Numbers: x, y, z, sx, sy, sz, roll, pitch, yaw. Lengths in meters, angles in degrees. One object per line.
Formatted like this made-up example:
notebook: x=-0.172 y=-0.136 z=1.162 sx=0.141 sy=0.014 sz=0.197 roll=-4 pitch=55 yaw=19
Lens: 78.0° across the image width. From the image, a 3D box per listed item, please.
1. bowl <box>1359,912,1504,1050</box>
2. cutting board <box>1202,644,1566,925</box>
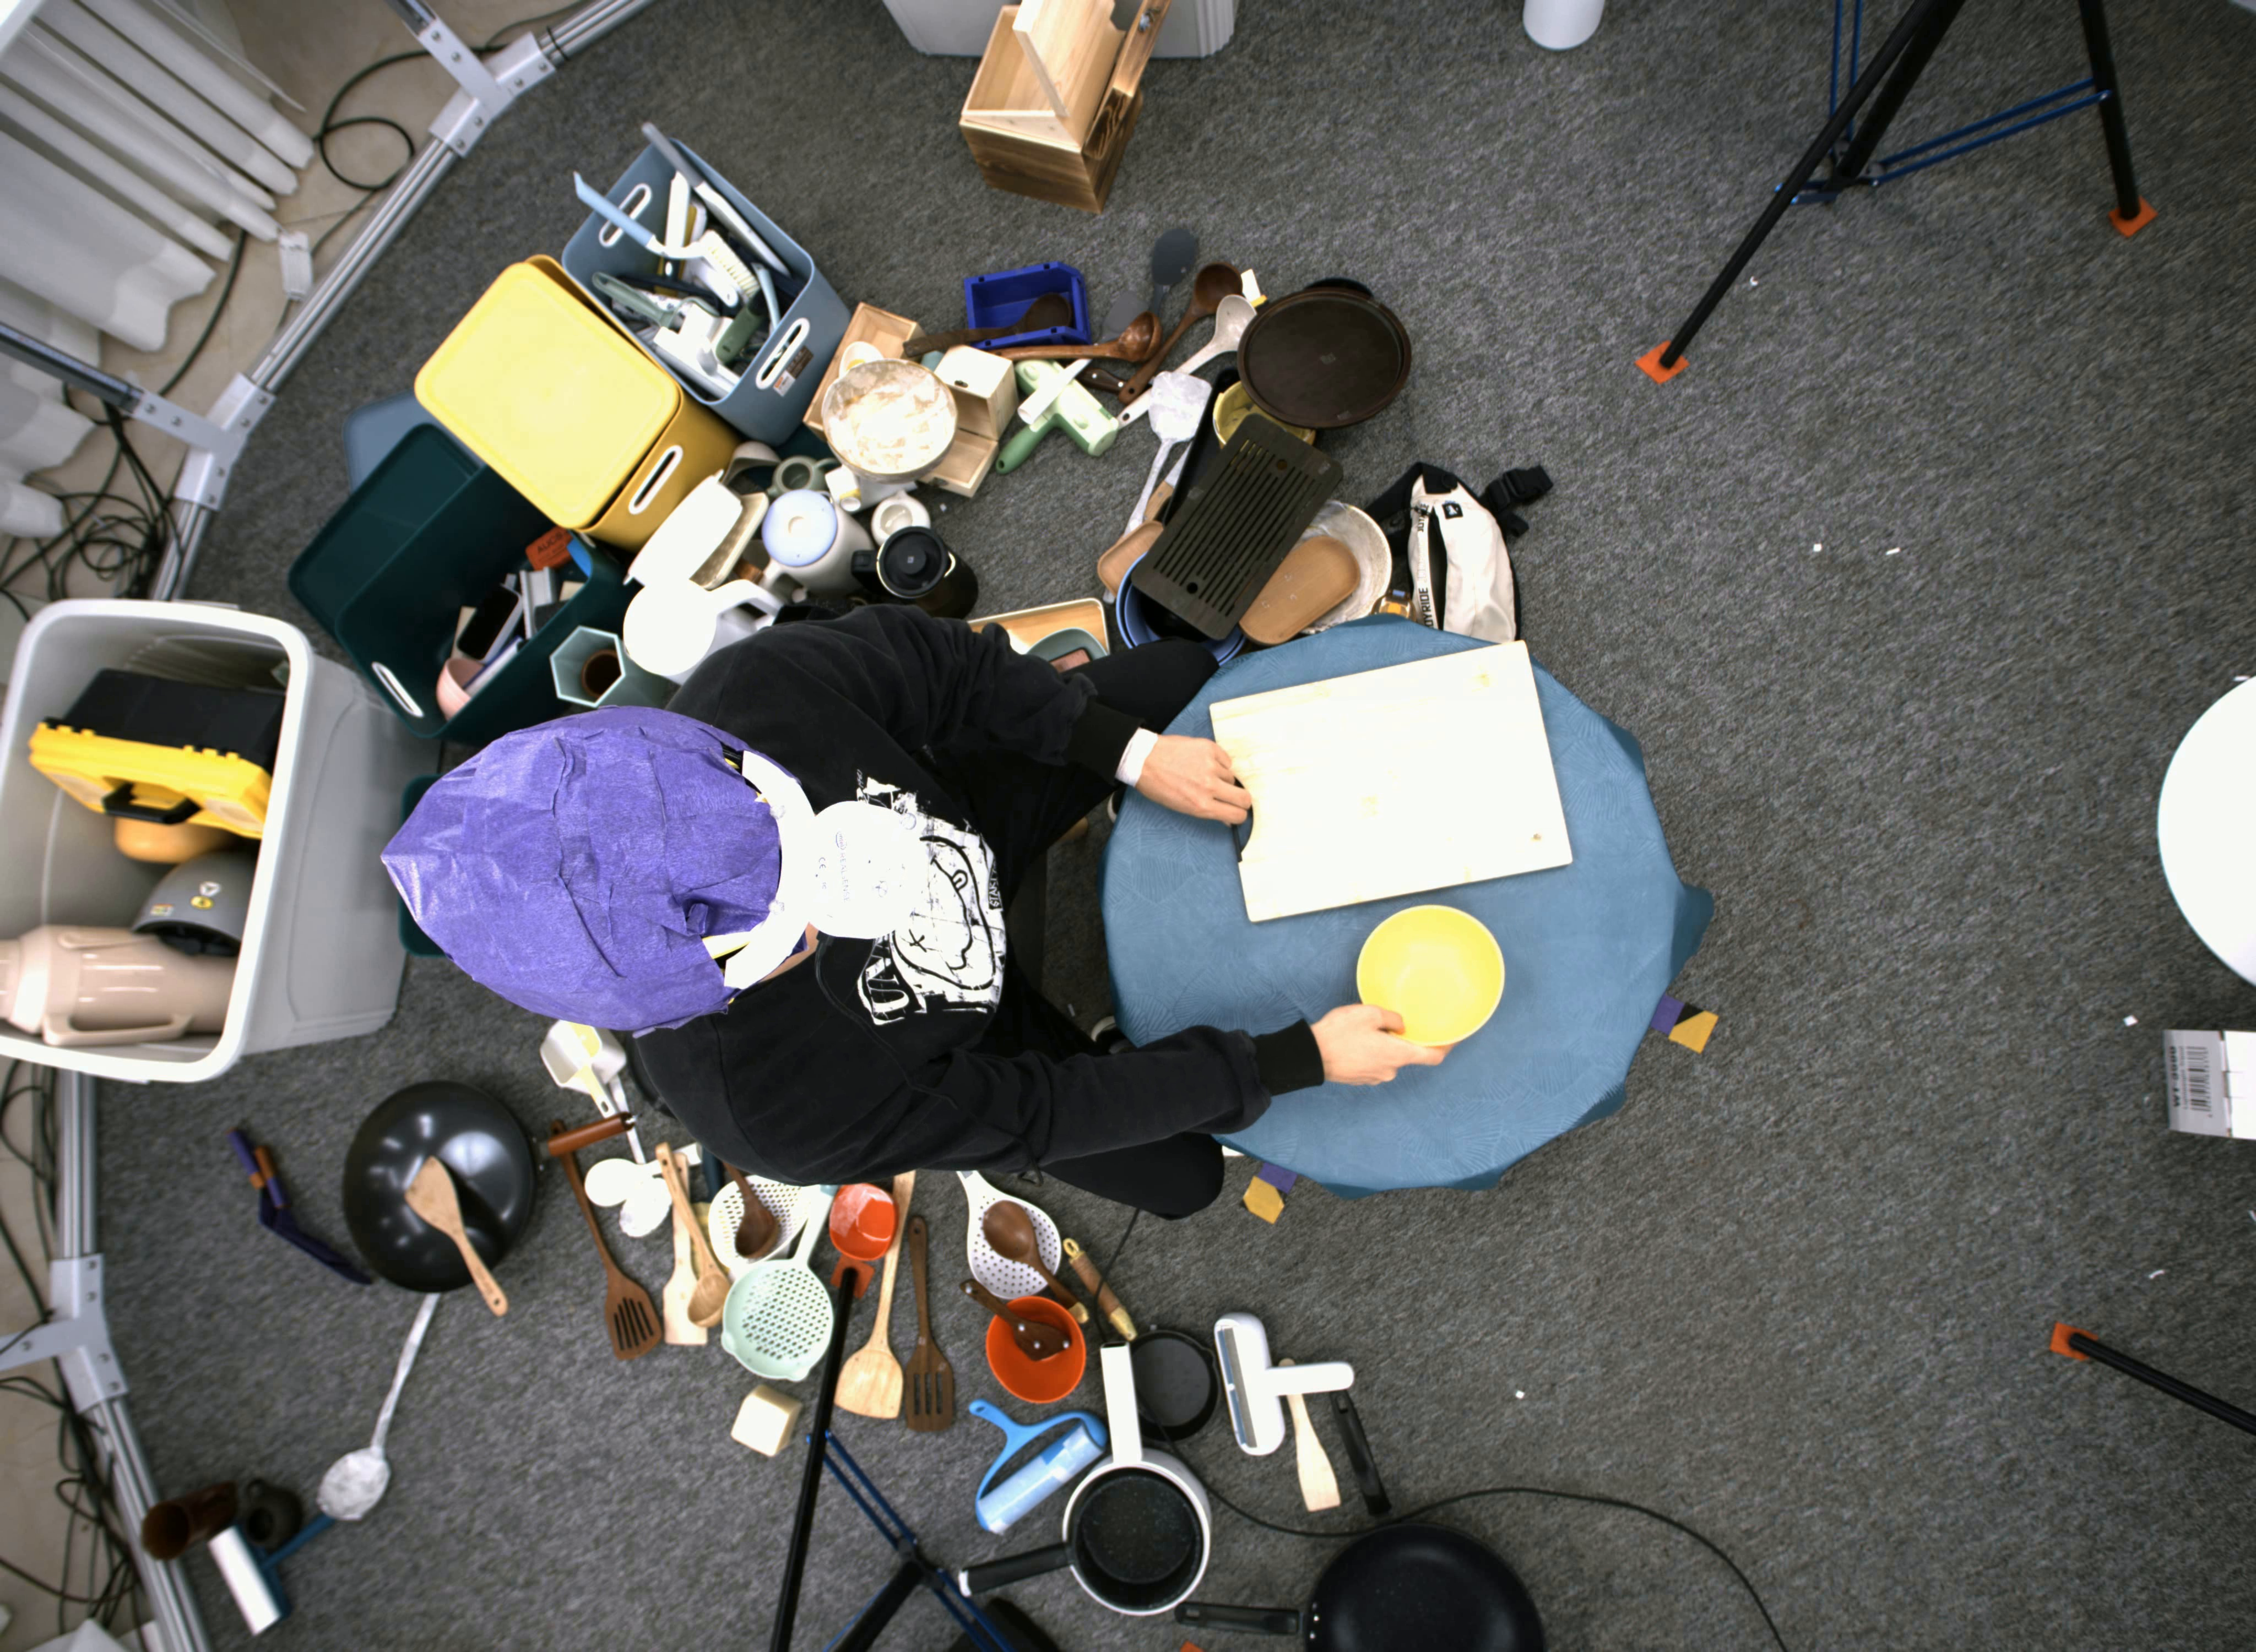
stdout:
bowl: x=0.309 y=0.163 z=1.403 sx=0.146 sy=0.061 sz=0.142 roll=-6 pitch=66 yaw=14
cutting board: x=0.271 y=-0.044 z=1.464 sx=0.350 sy=0.023 sz=0.249 roll=-12 pitch=84 yaw=9
